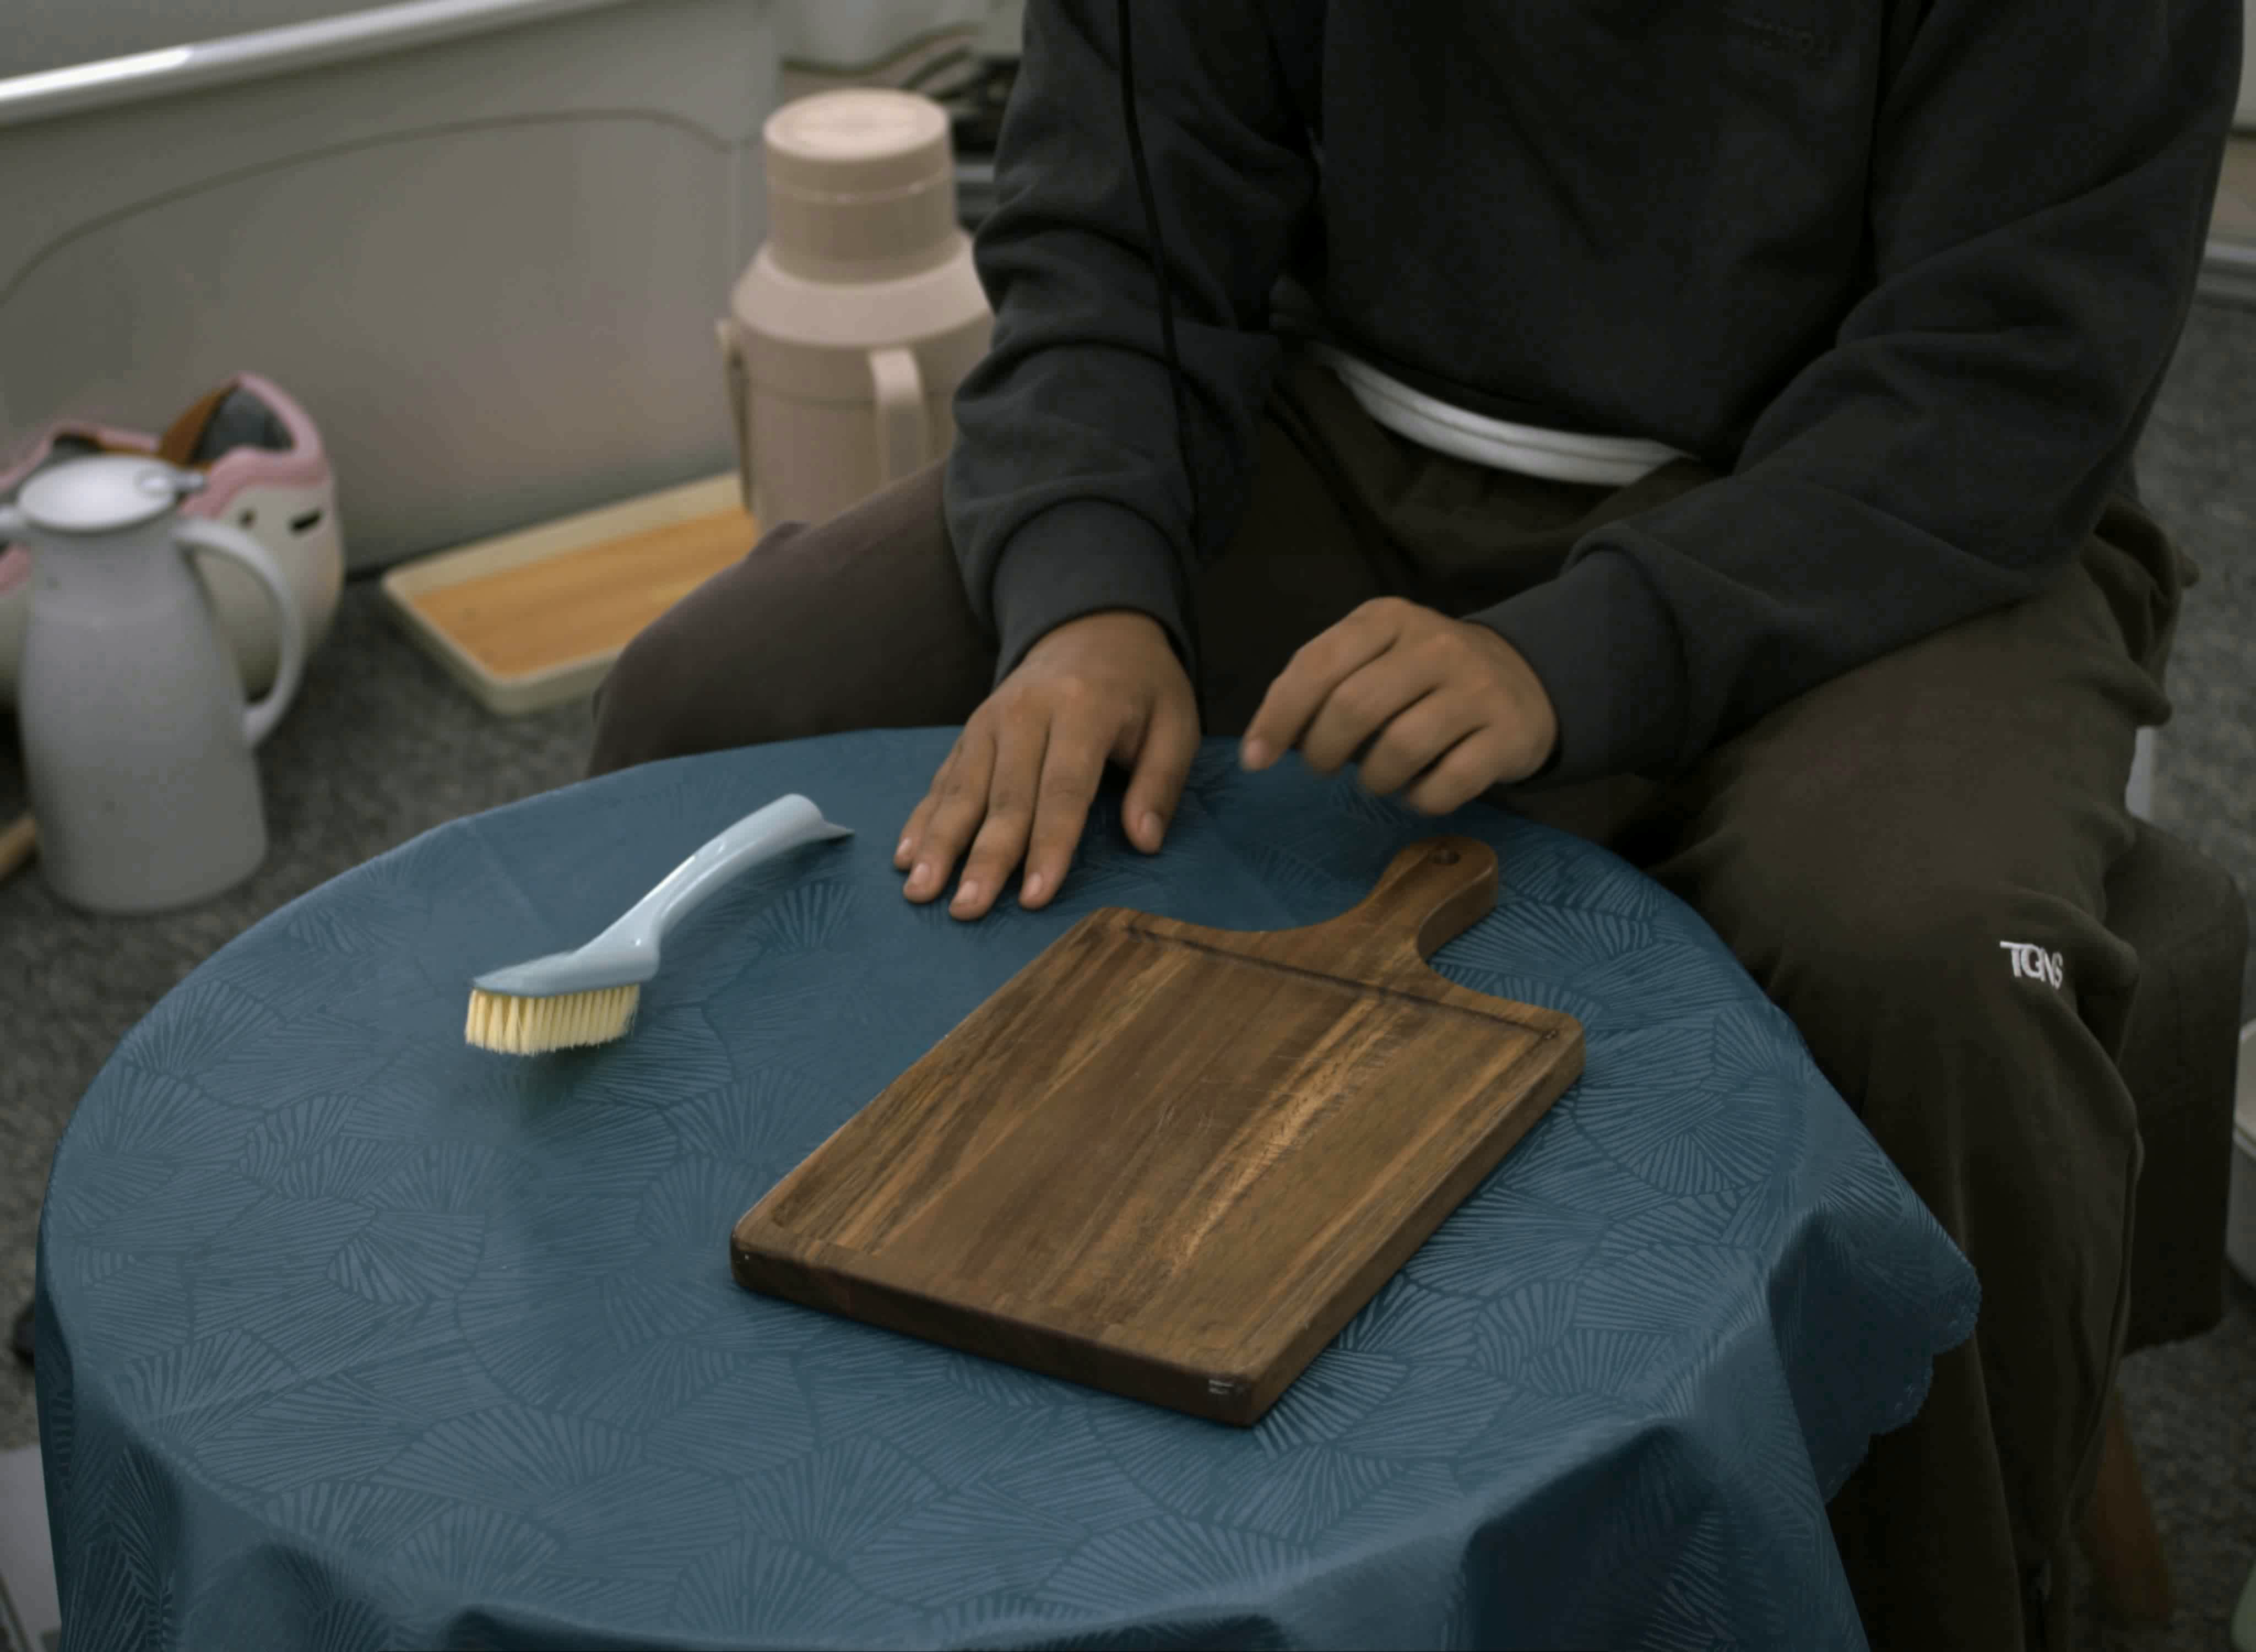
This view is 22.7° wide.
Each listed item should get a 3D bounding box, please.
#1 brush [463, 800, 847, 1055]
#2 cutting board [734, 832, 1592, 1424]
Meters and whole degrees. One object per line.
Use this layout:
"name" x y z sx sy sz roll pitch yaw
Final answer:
"brush" -0.166 0.037 2.010 0.037 0.049 0.232 12 22 24
"cutting board" 0.040 0.086 1.907 0.200 0.023 0.358 13 31 27
